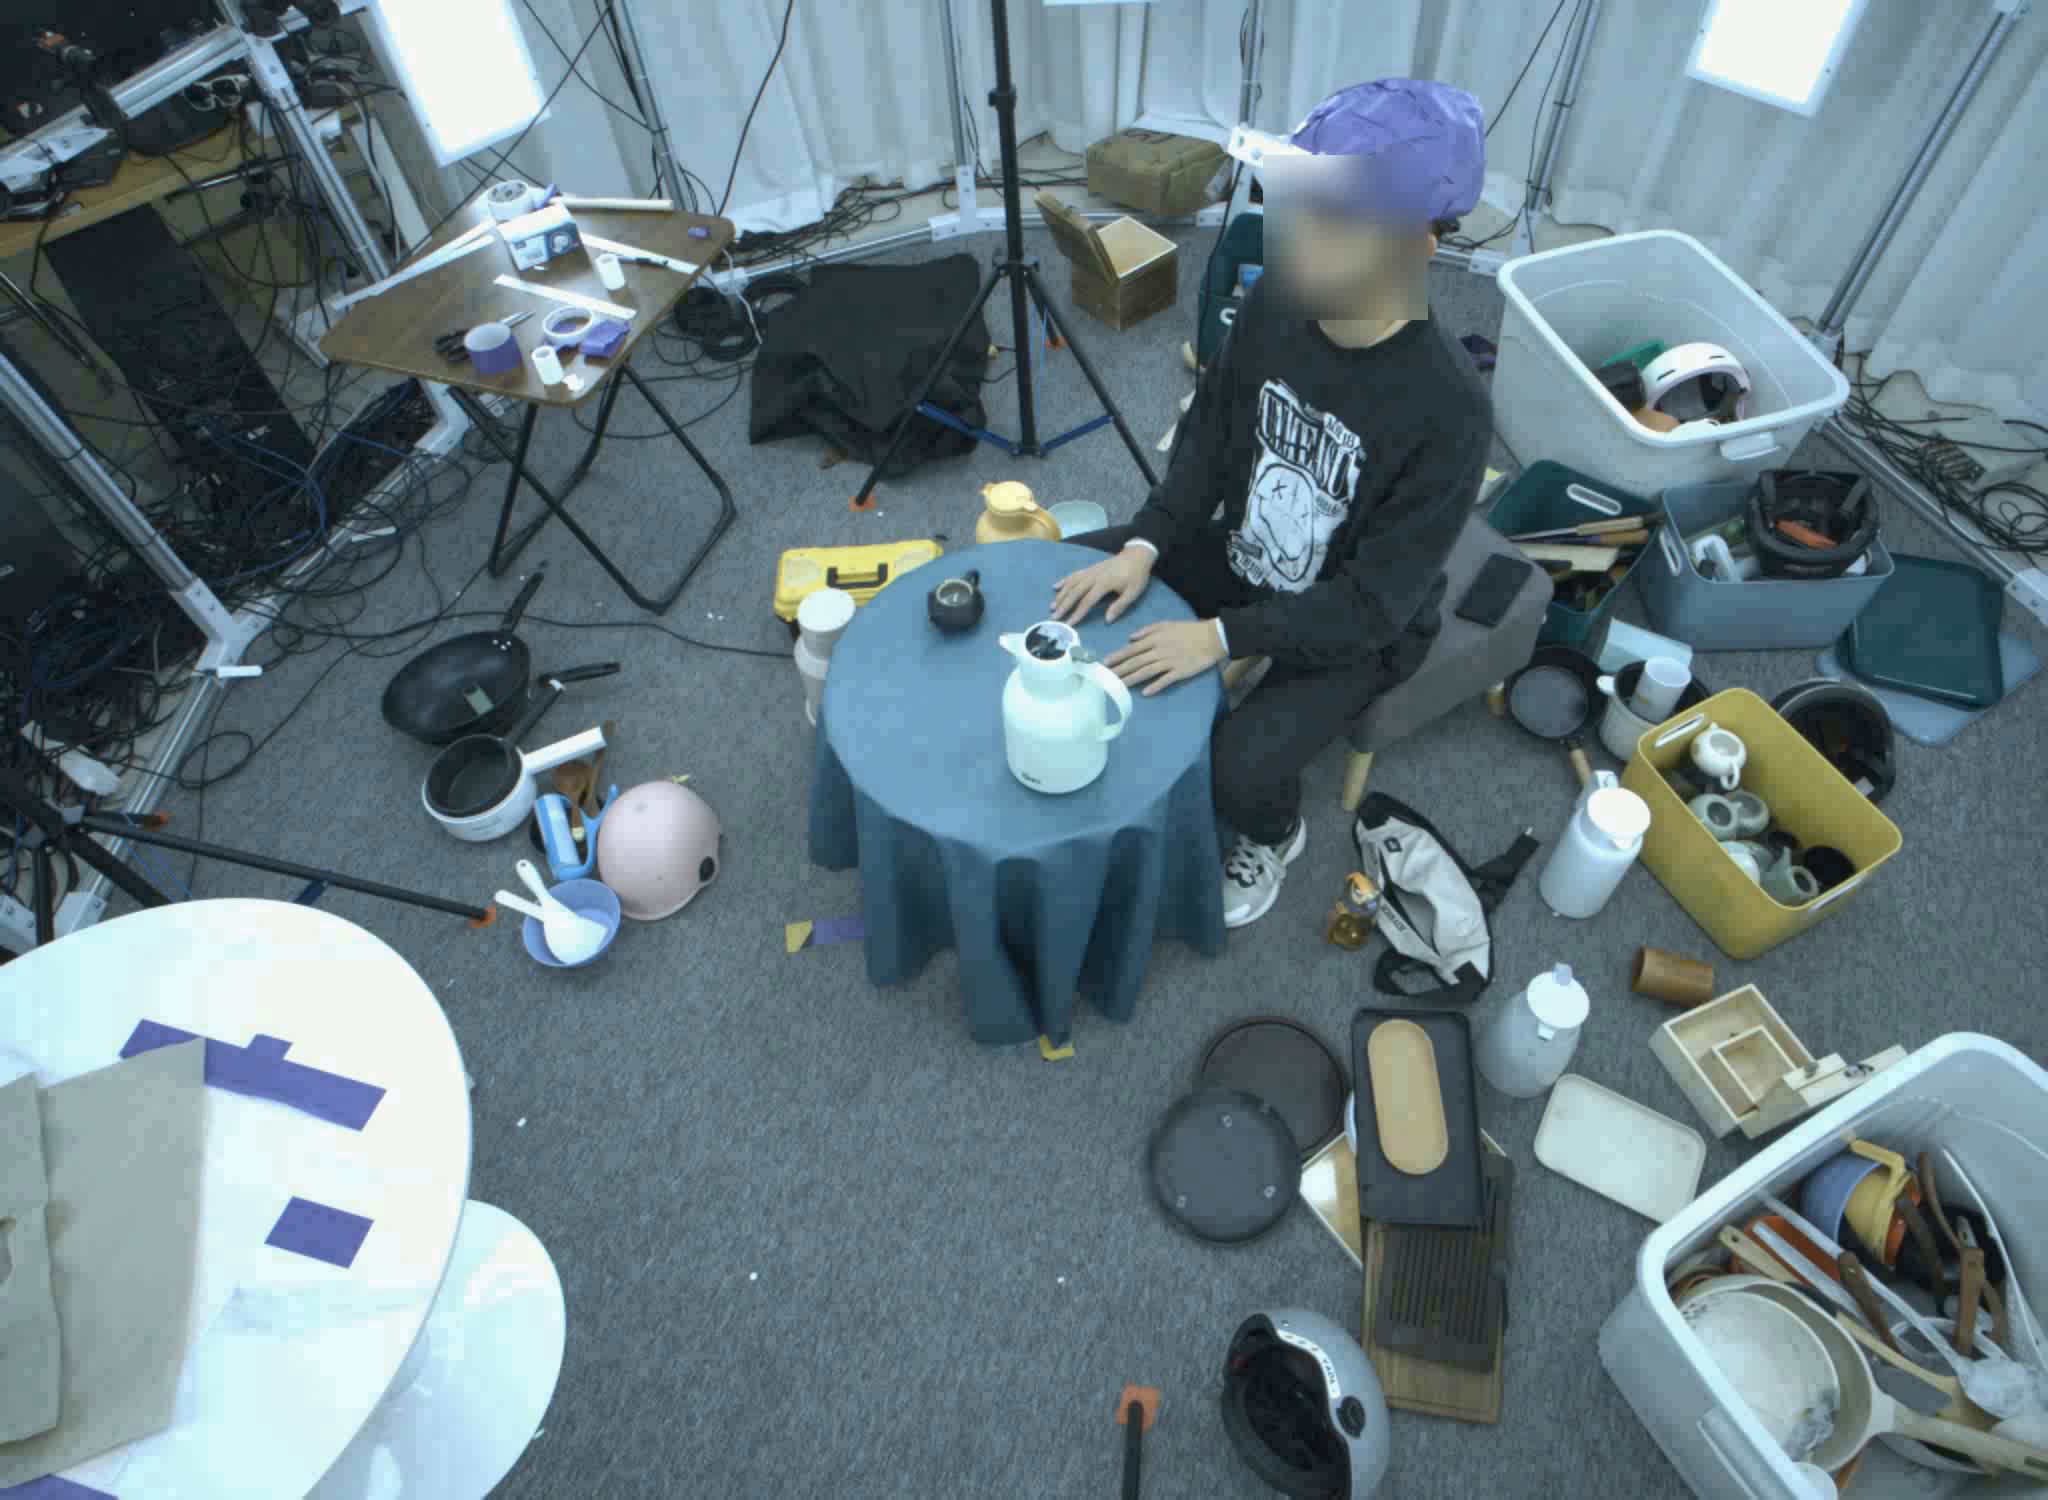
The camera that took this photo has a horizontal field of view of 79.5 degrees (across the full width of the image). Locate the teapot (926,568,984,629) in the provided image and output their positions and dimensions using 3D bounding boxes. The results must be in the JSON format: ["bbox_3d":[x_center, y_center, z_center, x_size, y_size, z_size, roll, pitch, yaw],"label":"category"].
[{"bbox_3d":[-0.108,-0.231,1.919,0.090,0.053,0.133,26,59,17],"label":"teapot"}]

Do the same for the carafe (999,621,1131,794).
[{"bbox_3d":[0.052,-0.059,1.669,0.185,0.259,0.144,21,57,14],"label":"carafe"}]
